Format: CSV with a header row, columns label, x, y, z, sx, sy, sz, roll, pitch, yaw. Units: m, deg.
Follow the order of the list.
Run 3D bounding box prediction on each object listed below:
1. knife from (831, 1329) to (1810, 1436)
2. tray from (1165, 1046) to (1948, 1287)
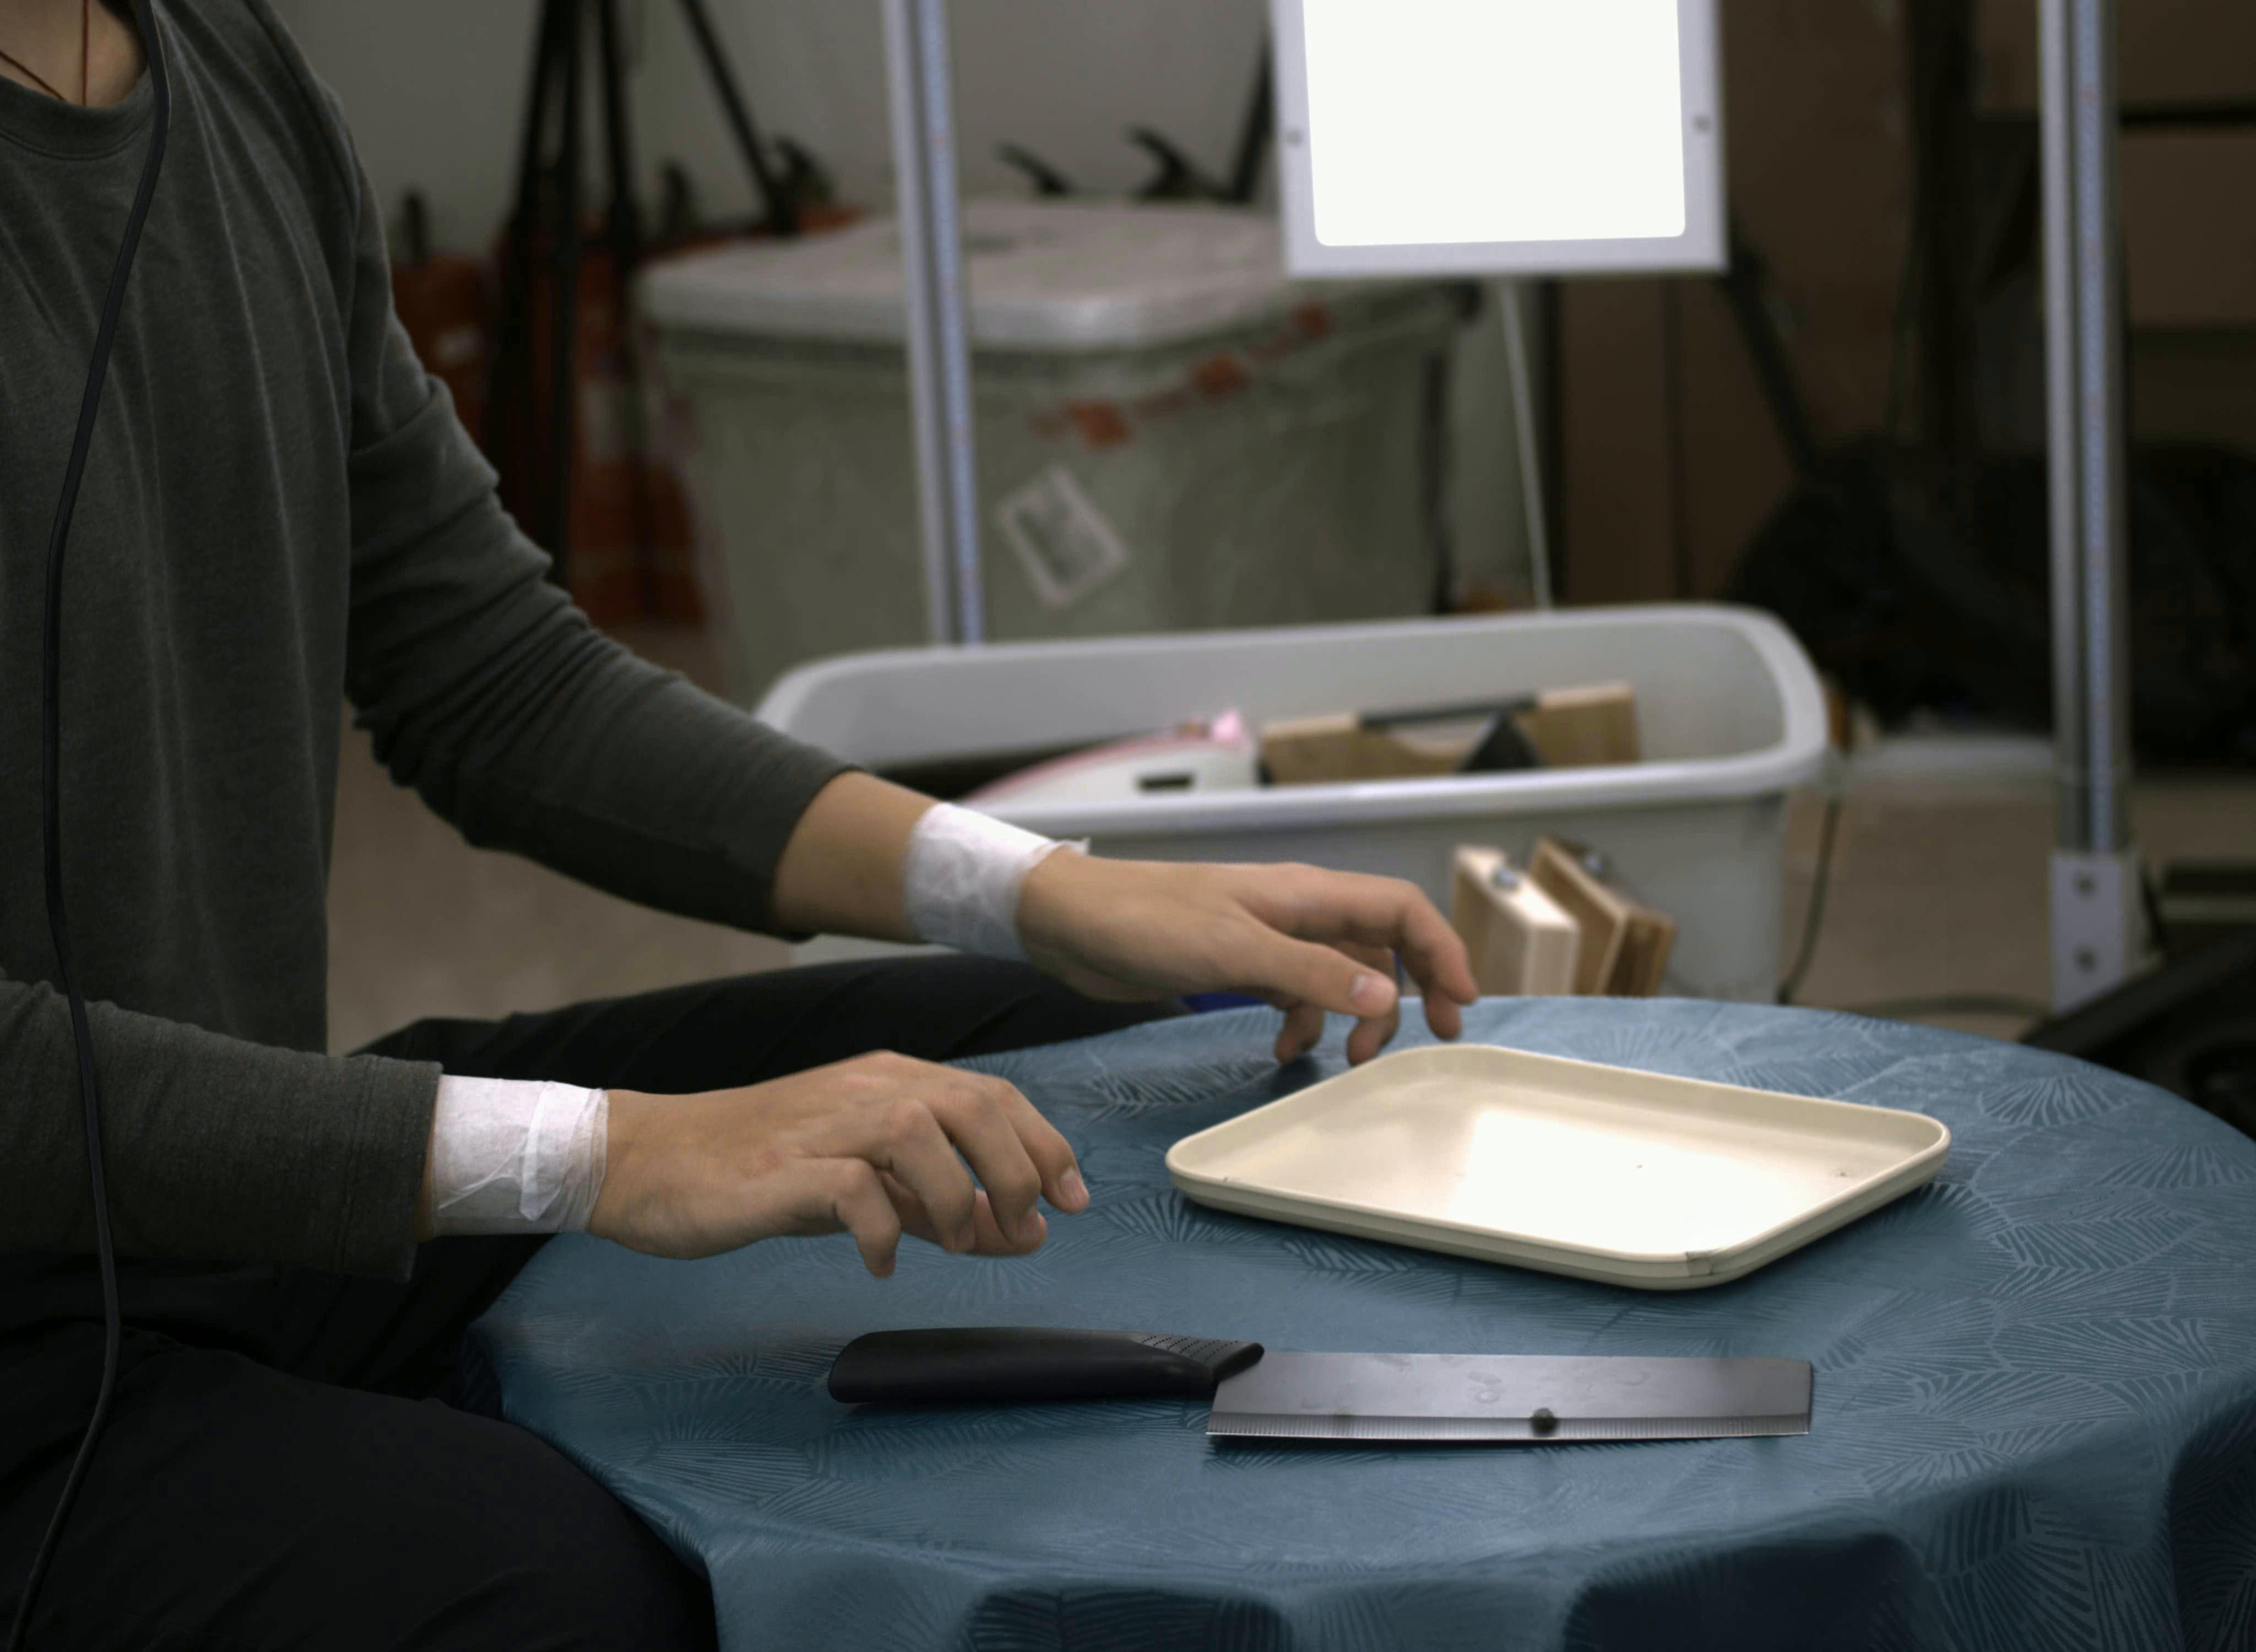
label,x,y,z,sx,sy,sz,roll,pitch,yaw
knife,0.058,0.171,1.672,0.305,0.021,0.080,0,16,15
tray,0.145,0.114,1.861,0.245,0.017,0.167,7,18,42
